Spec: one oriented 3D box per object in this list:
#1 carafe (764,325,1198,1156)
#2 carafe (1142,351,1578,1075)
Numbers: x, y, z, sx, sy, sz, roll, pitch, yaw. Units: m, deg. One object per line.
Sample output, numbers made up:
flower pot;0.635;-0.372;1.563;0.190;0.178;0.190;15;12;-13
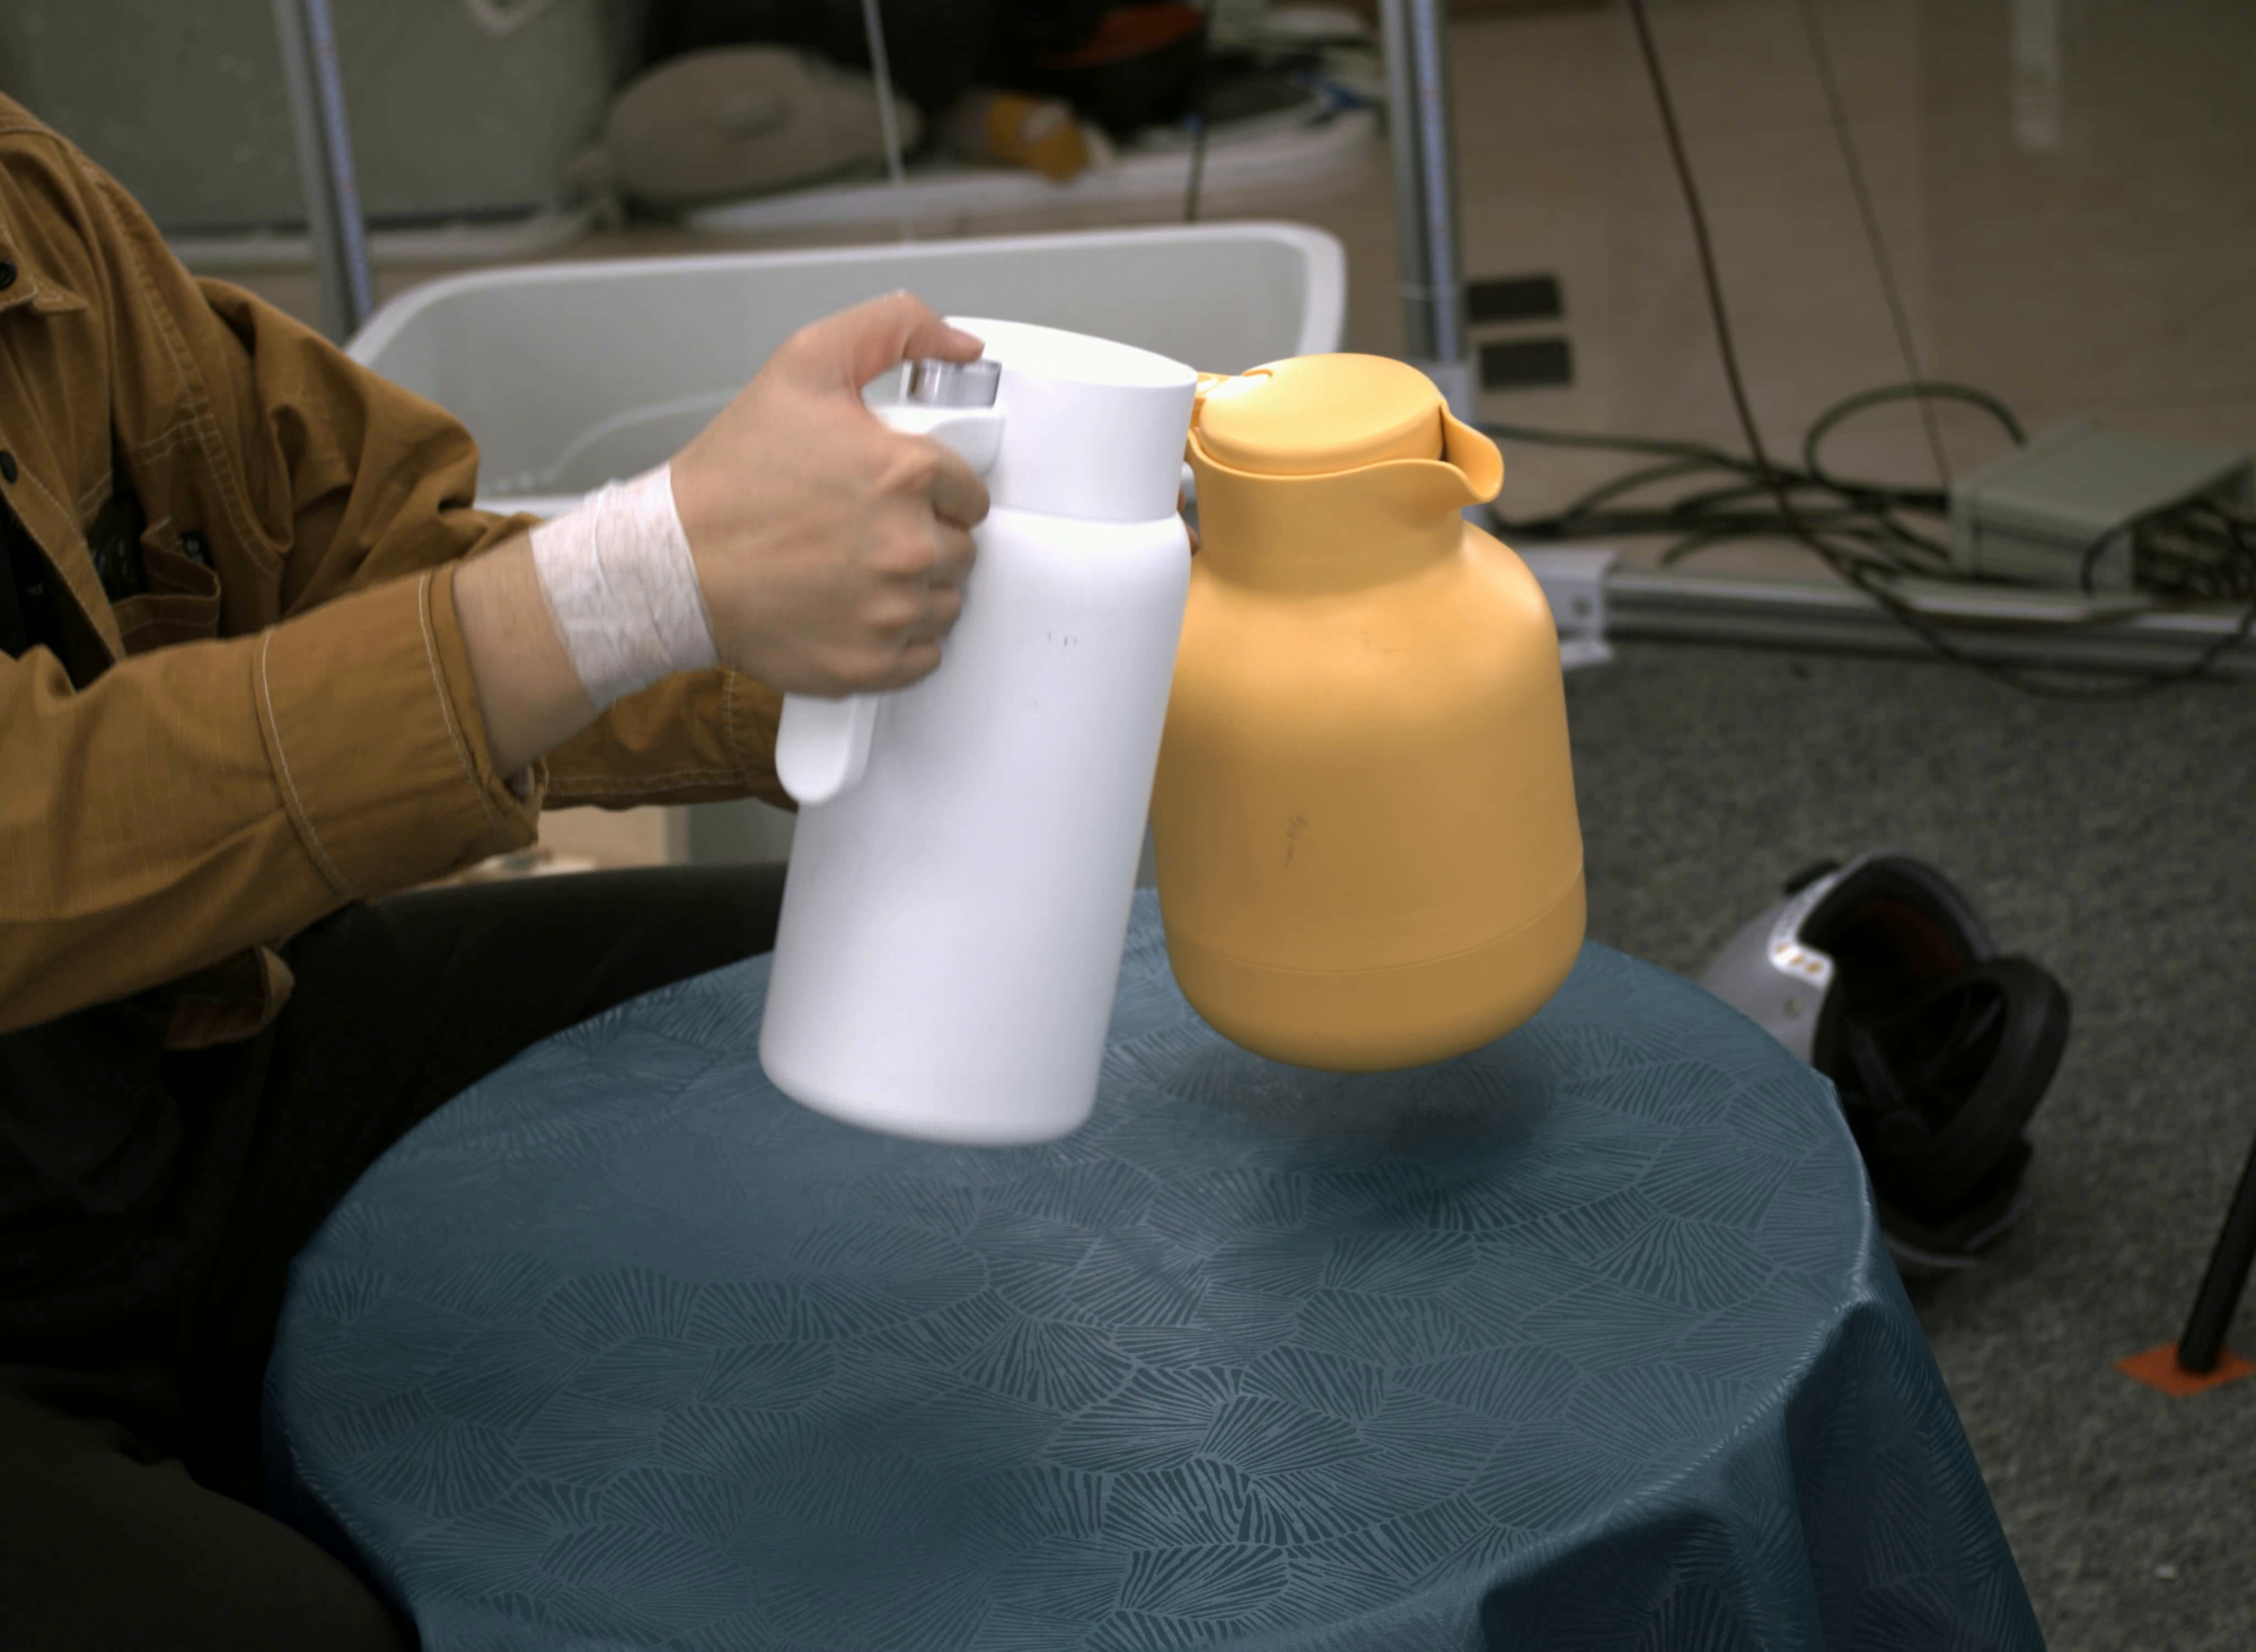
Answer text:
carafe;-0.055;-0.027;1.899;0.123;0.272;0.172;21;19;29
carafe;0.069;-0.052;2.135;0.201;0.265;0.162;16;34;34
